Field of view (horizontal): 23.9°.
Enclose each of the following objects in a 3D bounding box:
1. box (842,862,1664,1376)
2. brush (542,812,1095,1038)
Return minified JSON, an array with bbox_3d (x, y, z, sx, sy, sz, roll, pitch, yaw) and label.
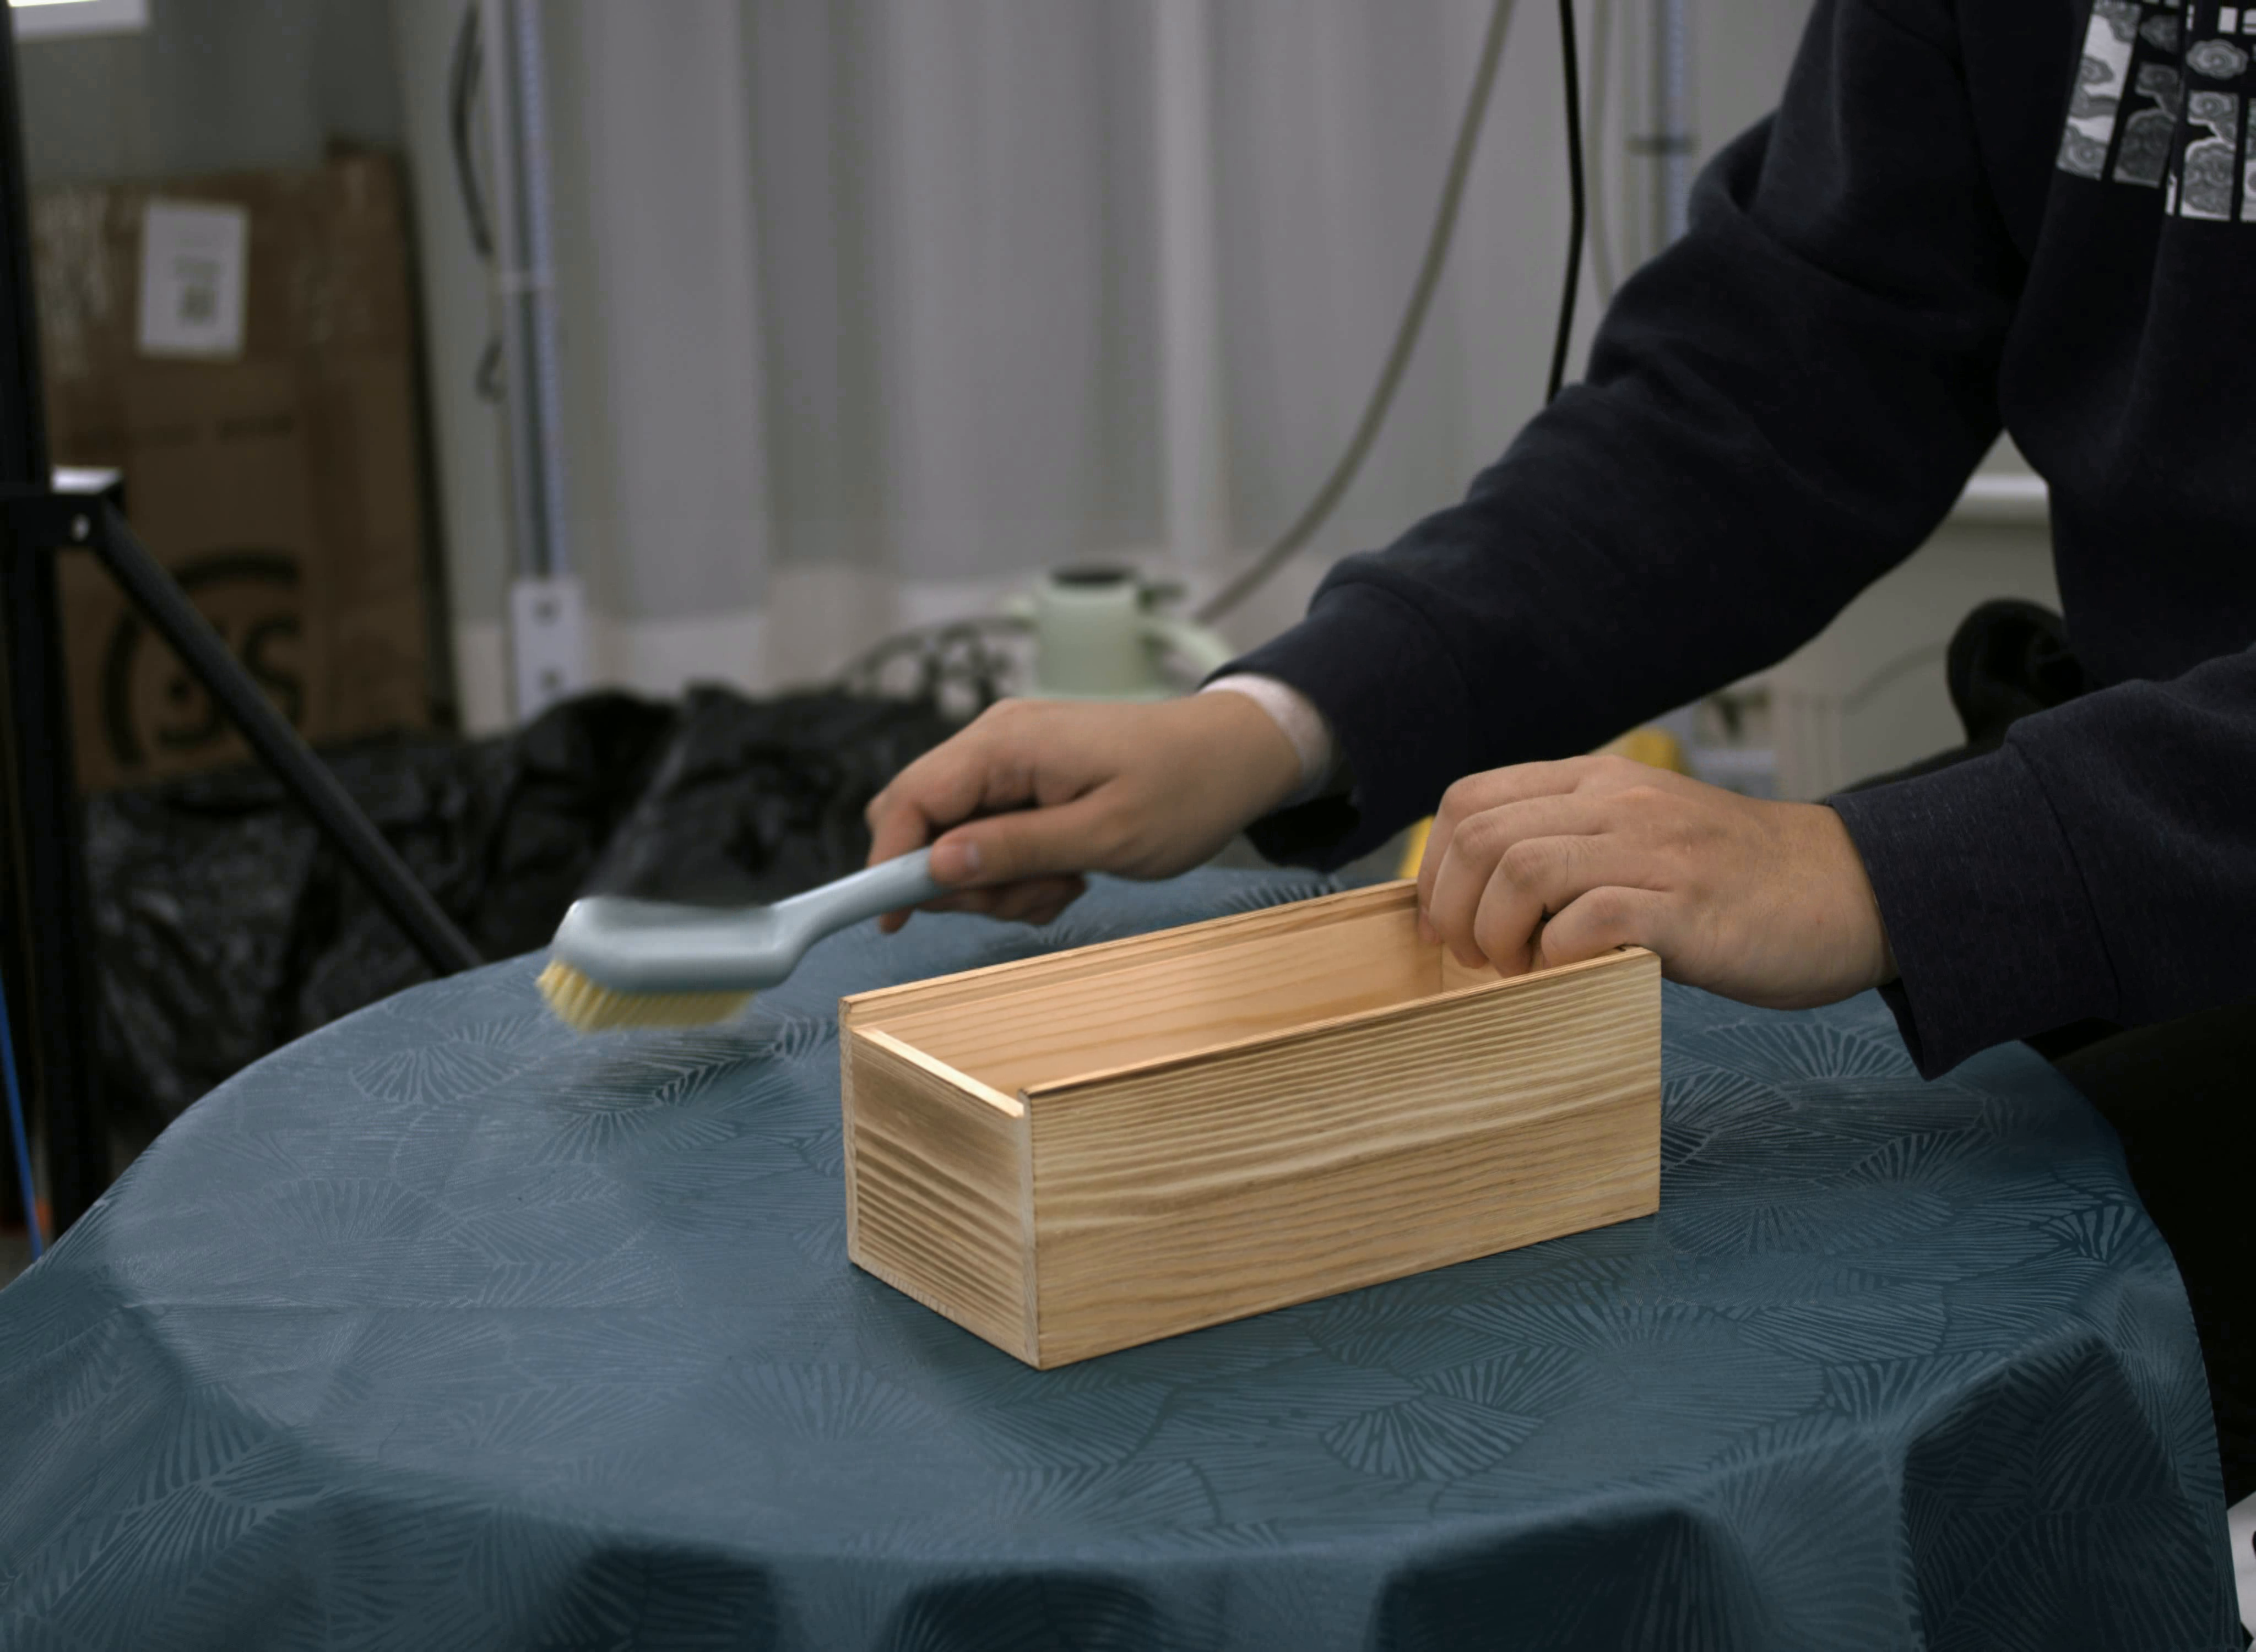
[{"bbox_3d":[0.037,0.079,1.505,0.207,0.080,0.110,-12,19,-29],"label":"box"},{"bbox_3d":[-0.098,0.031,1.736,0.223,0.050,0.038,-16,52,-42],"label":"brush"}]
